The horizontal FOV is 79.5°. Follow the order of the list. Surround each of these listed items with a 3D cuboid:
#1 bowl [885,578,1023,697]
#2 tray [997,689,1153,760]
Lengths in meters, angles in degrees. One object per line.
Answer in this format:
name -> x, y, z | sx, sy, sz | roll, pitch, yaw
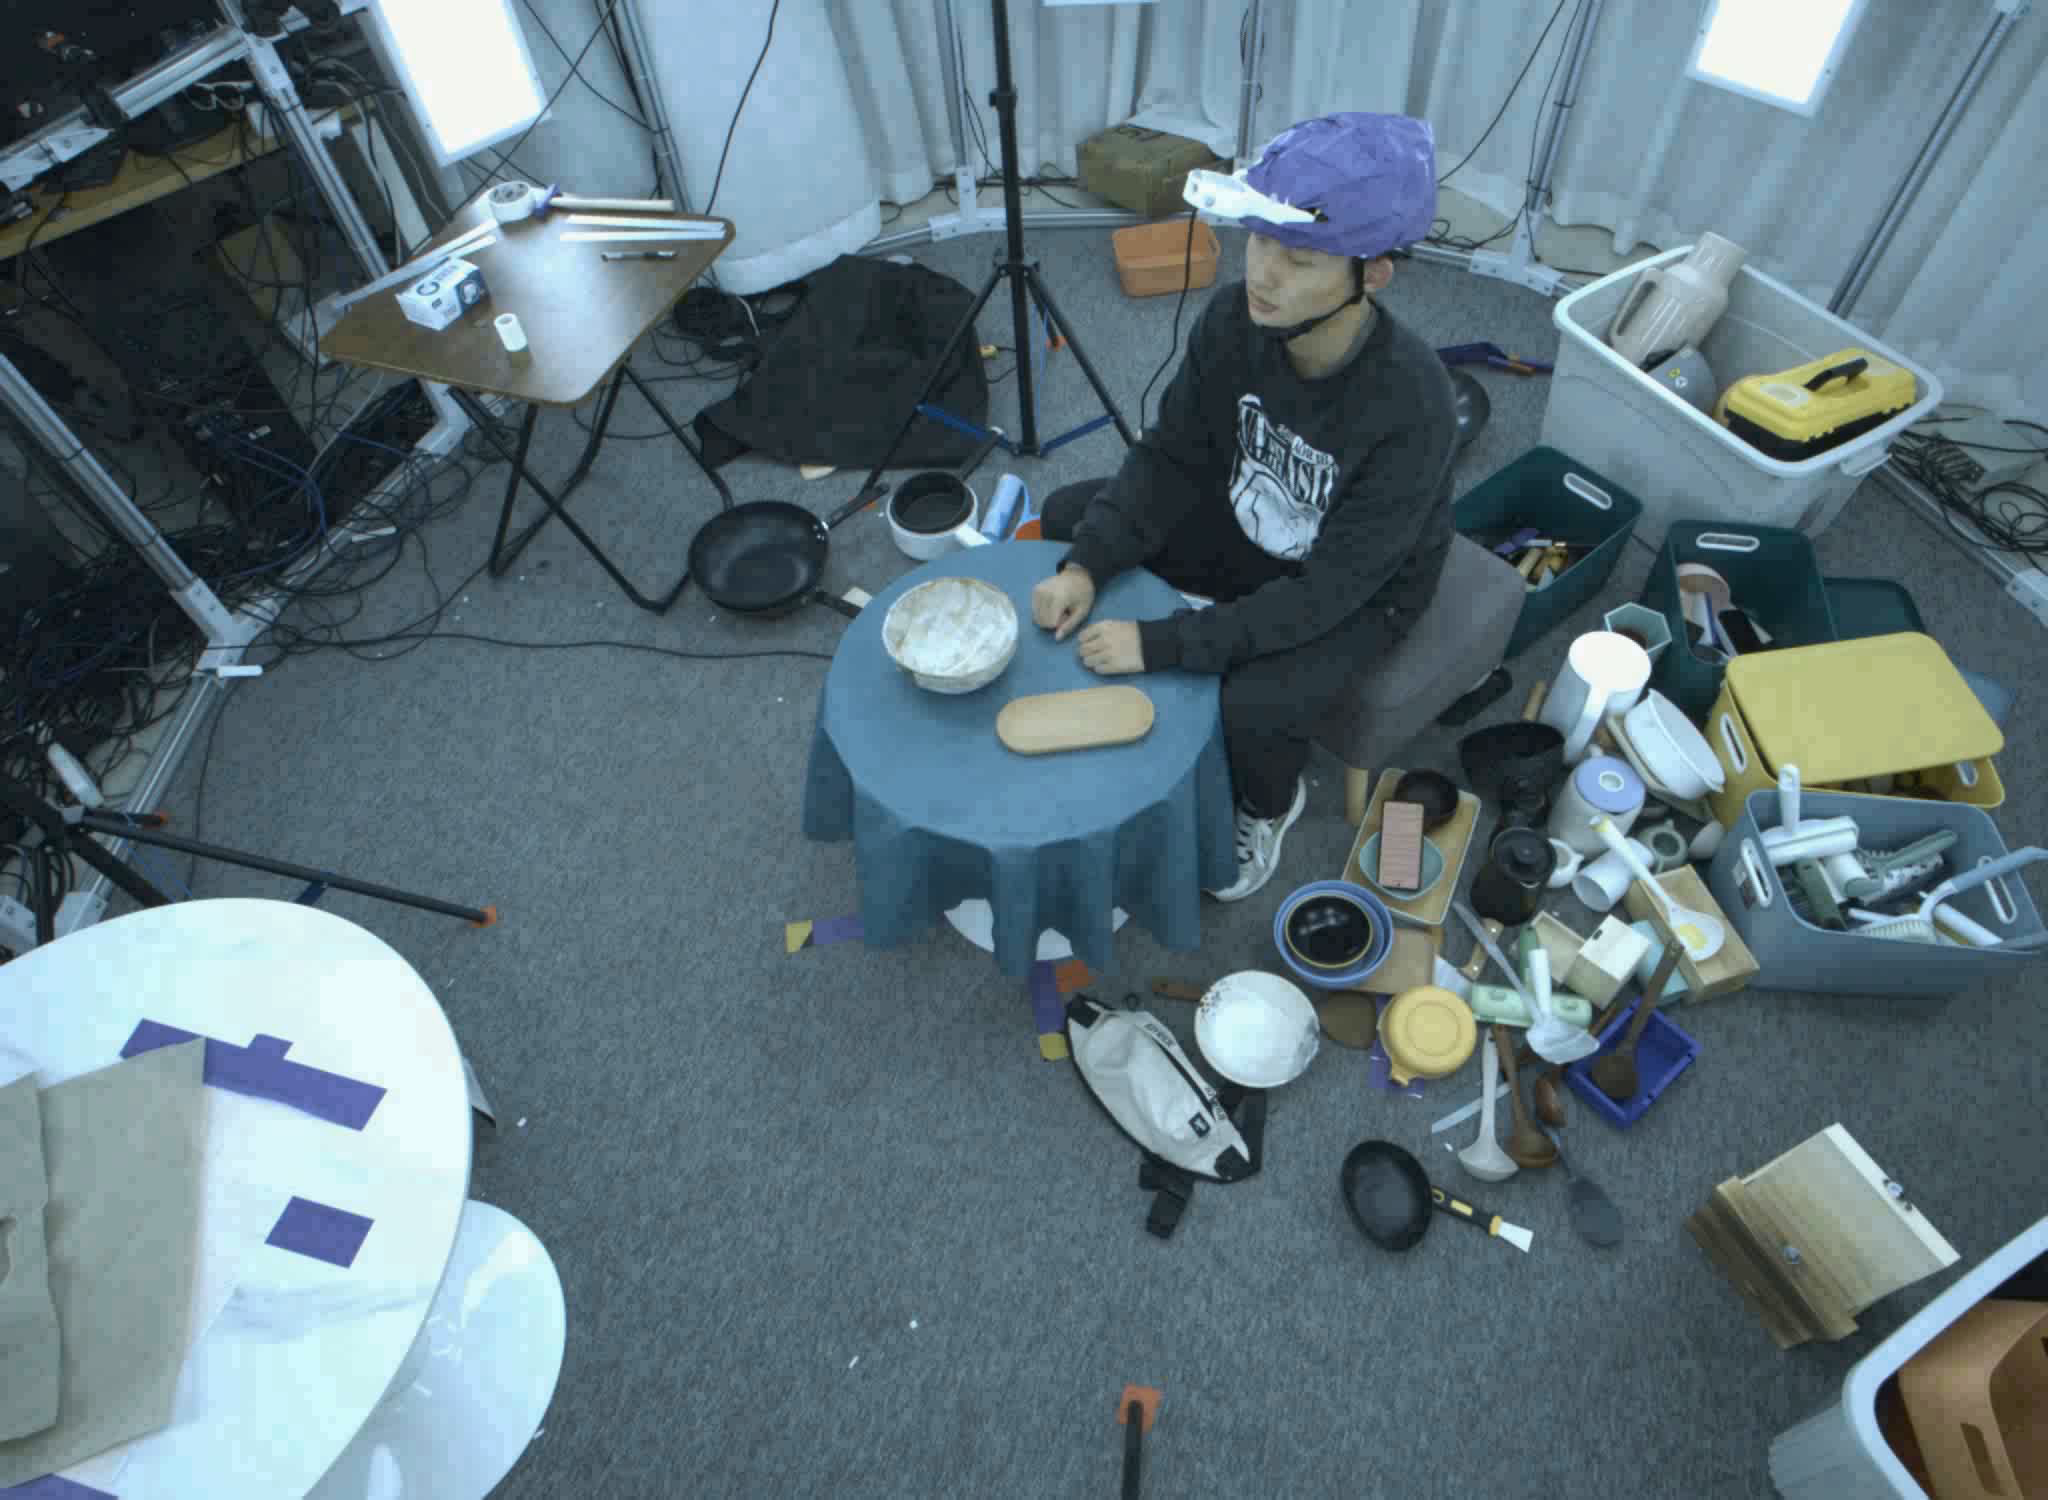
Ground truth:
bowl -> -0.100, -0.151, 1.849 | 0.214, 0.095, 0.212 | -1, 53, 2
tray -> 0.075, -0.037, 1.812 | 0.231, 0.020, 0.100 | -9, 53, -2
